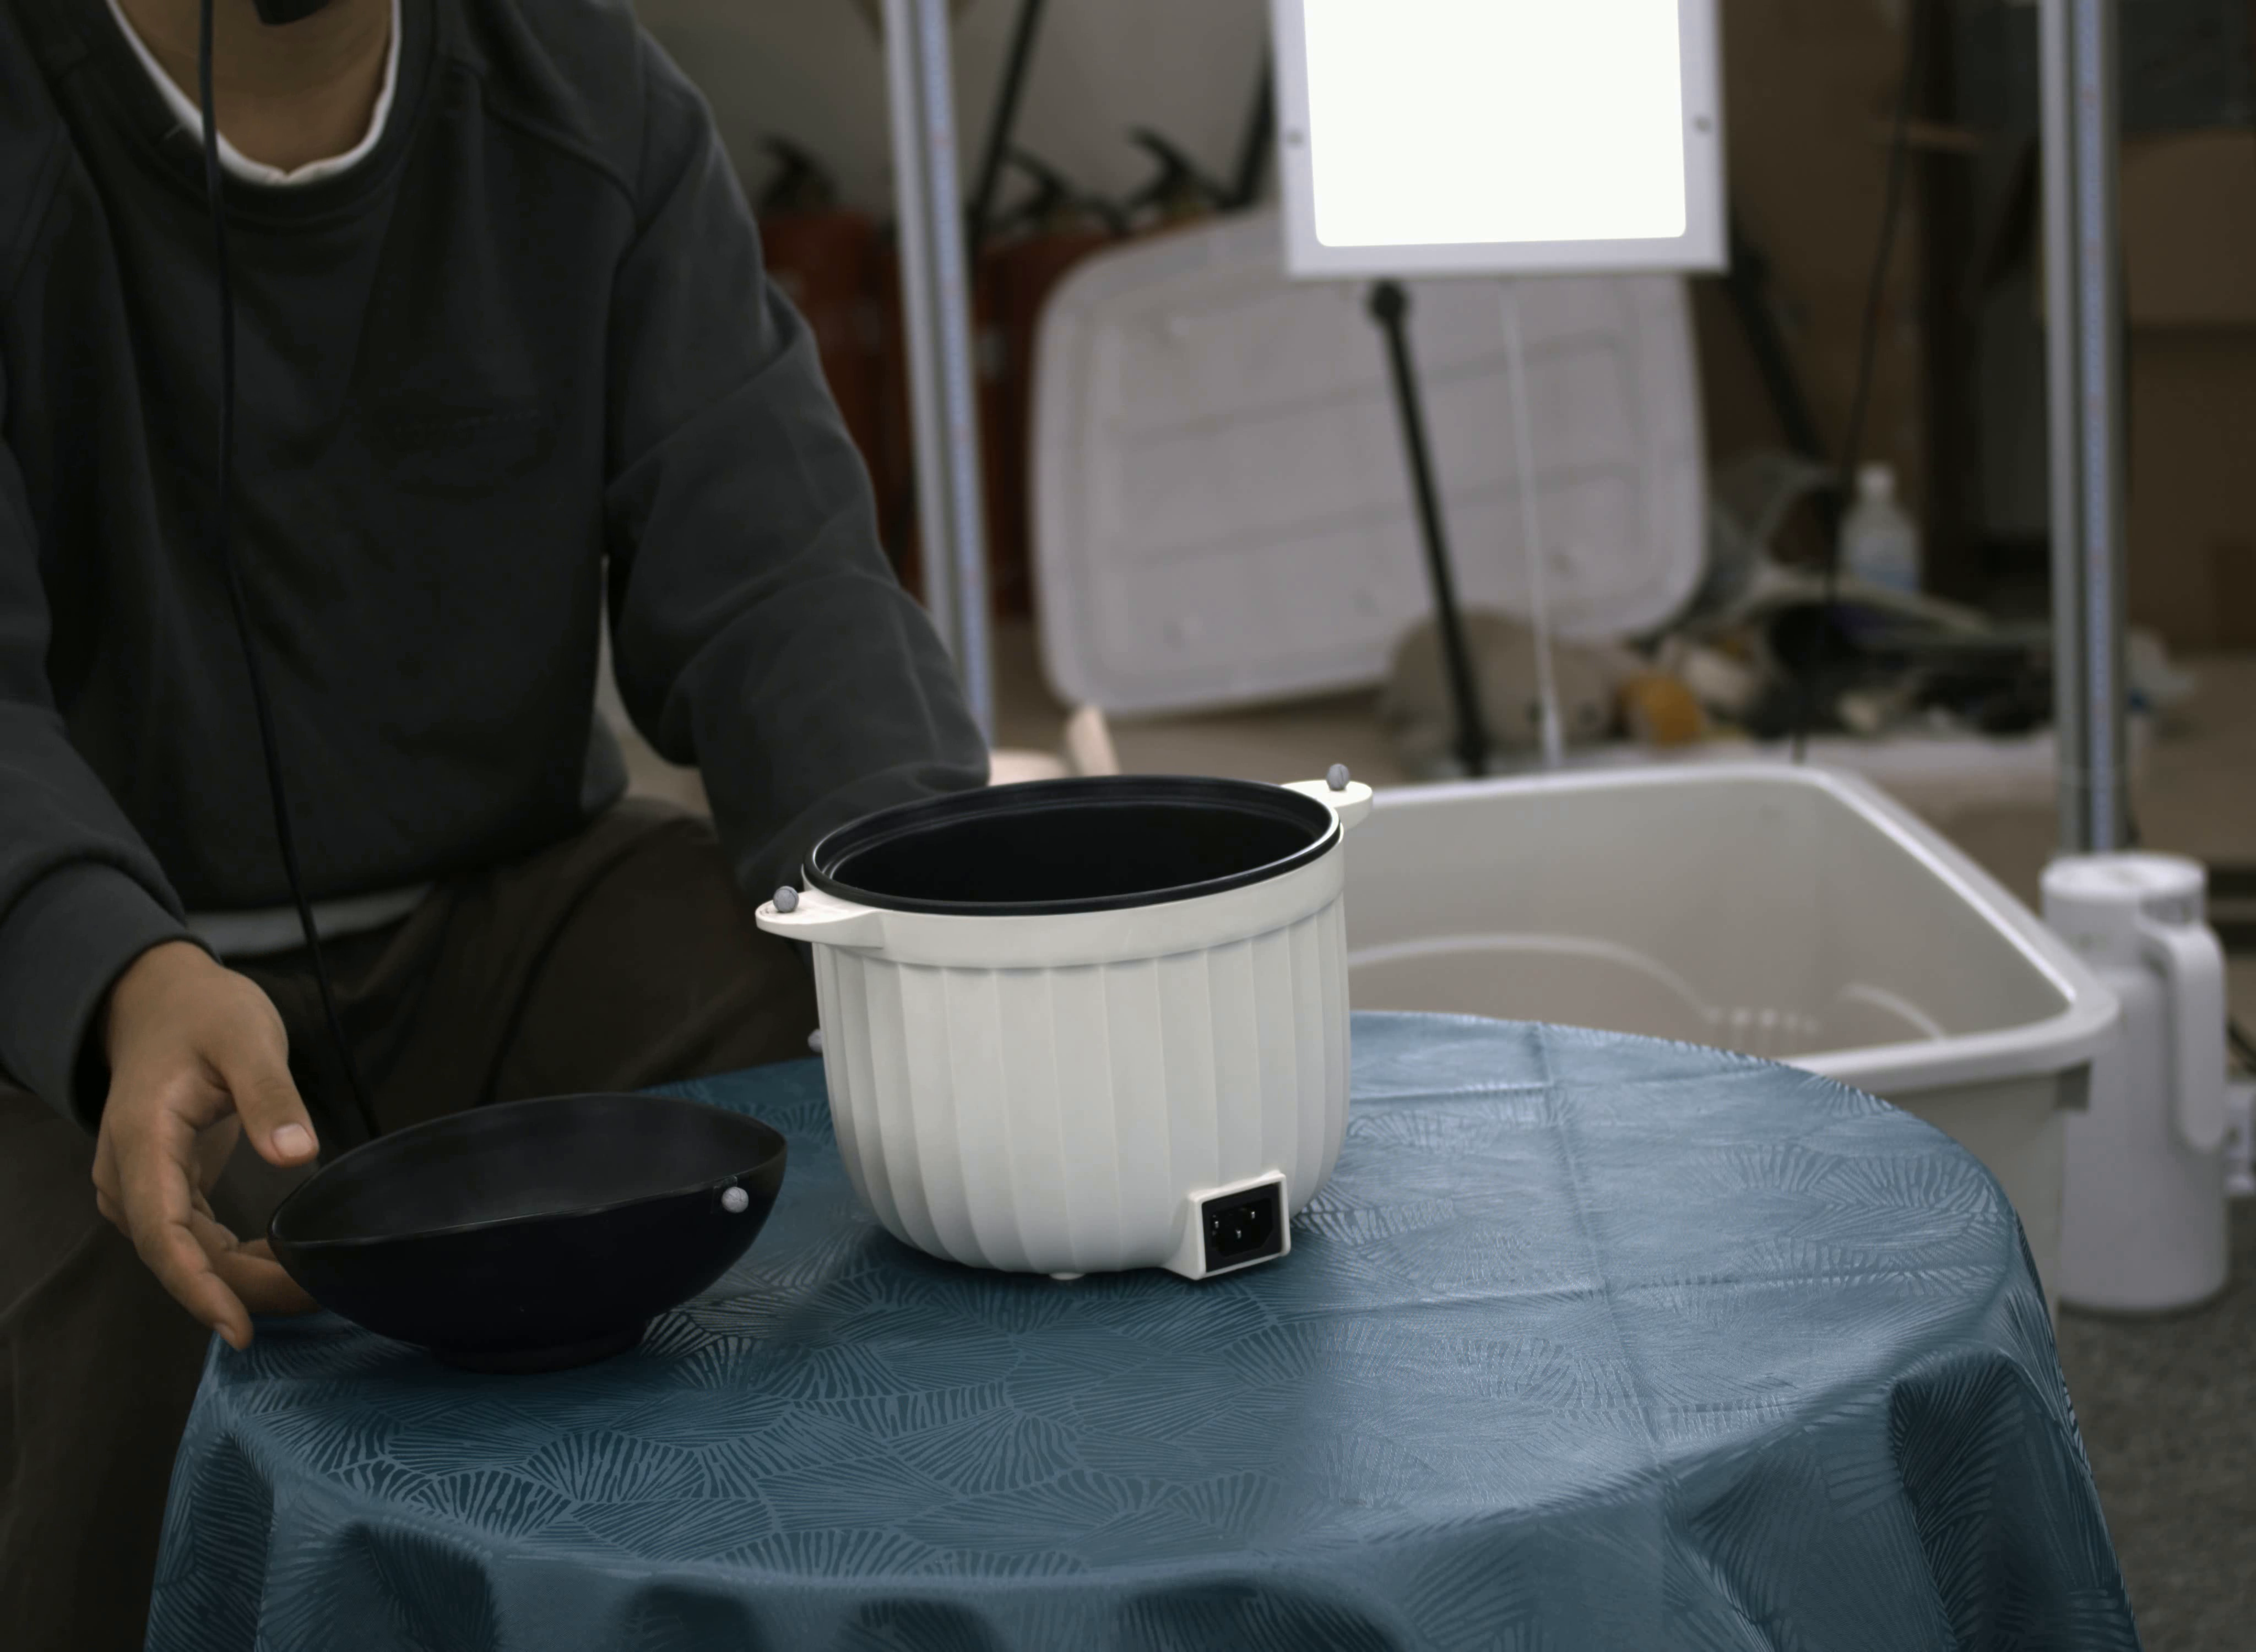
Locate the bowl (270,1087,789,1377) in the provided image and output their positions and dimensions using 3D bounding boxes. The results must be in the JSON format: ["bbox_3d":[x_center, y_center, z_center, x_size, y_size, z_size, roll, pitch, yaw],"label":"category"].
[{"bbox_3d":[-0.190,0.137,1.787,0.168,0.067,0.138,-9,14,-11],"label":"bowl"}]

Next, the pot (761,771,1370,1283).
[{"bbox_3d":[-0.018,0.068,1.856,0.235,0.143,0.194,-12,18,-32],"label":"pot"}]
